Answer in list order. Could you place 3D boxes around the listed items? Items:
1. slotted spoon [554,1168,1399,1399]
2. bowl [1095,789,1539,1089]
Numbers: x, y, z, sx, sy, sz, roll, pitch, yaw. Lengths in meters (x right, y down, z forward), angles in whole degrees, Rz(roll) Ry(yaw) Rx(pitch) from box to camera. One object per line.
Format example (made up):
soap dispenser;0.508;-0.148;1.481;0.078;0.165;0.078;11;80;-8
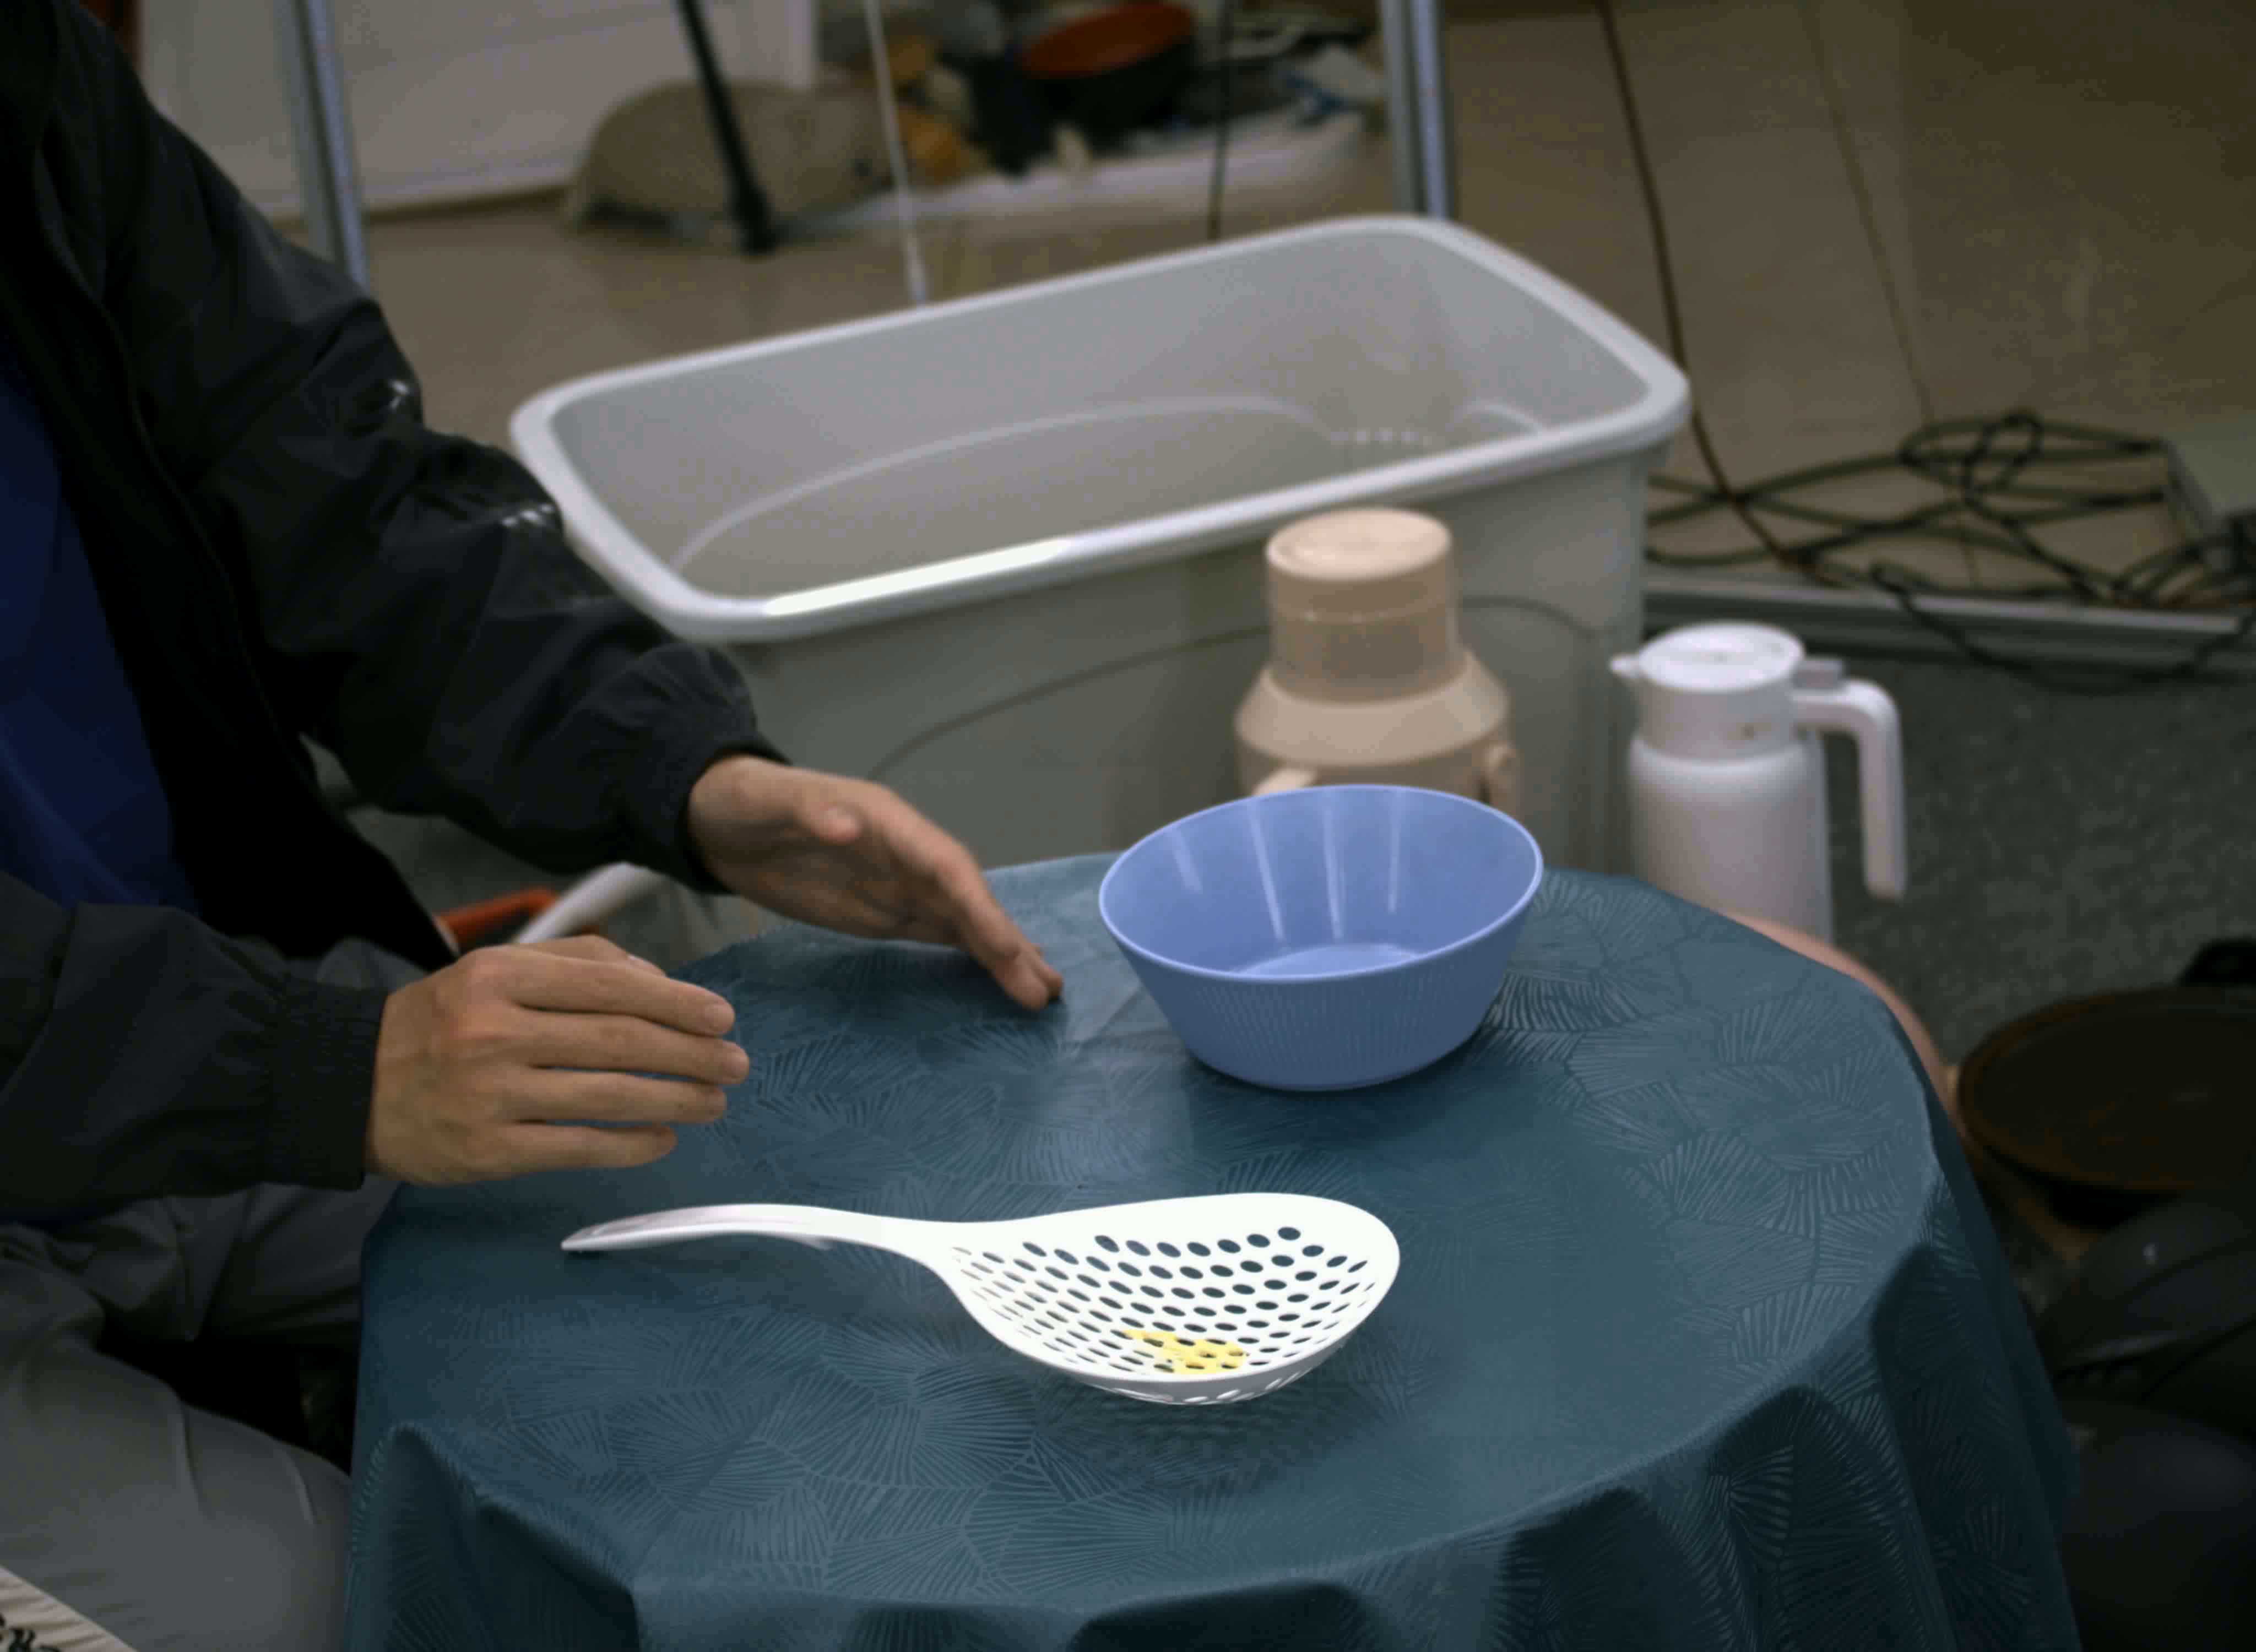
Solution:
slotted spoon;-0.064;0.162;2.062;0.346;0.051;0.135;7;32;29
bowl;0.077;0.050;2.236;0.176;0.071;0.173;-6;24;3
